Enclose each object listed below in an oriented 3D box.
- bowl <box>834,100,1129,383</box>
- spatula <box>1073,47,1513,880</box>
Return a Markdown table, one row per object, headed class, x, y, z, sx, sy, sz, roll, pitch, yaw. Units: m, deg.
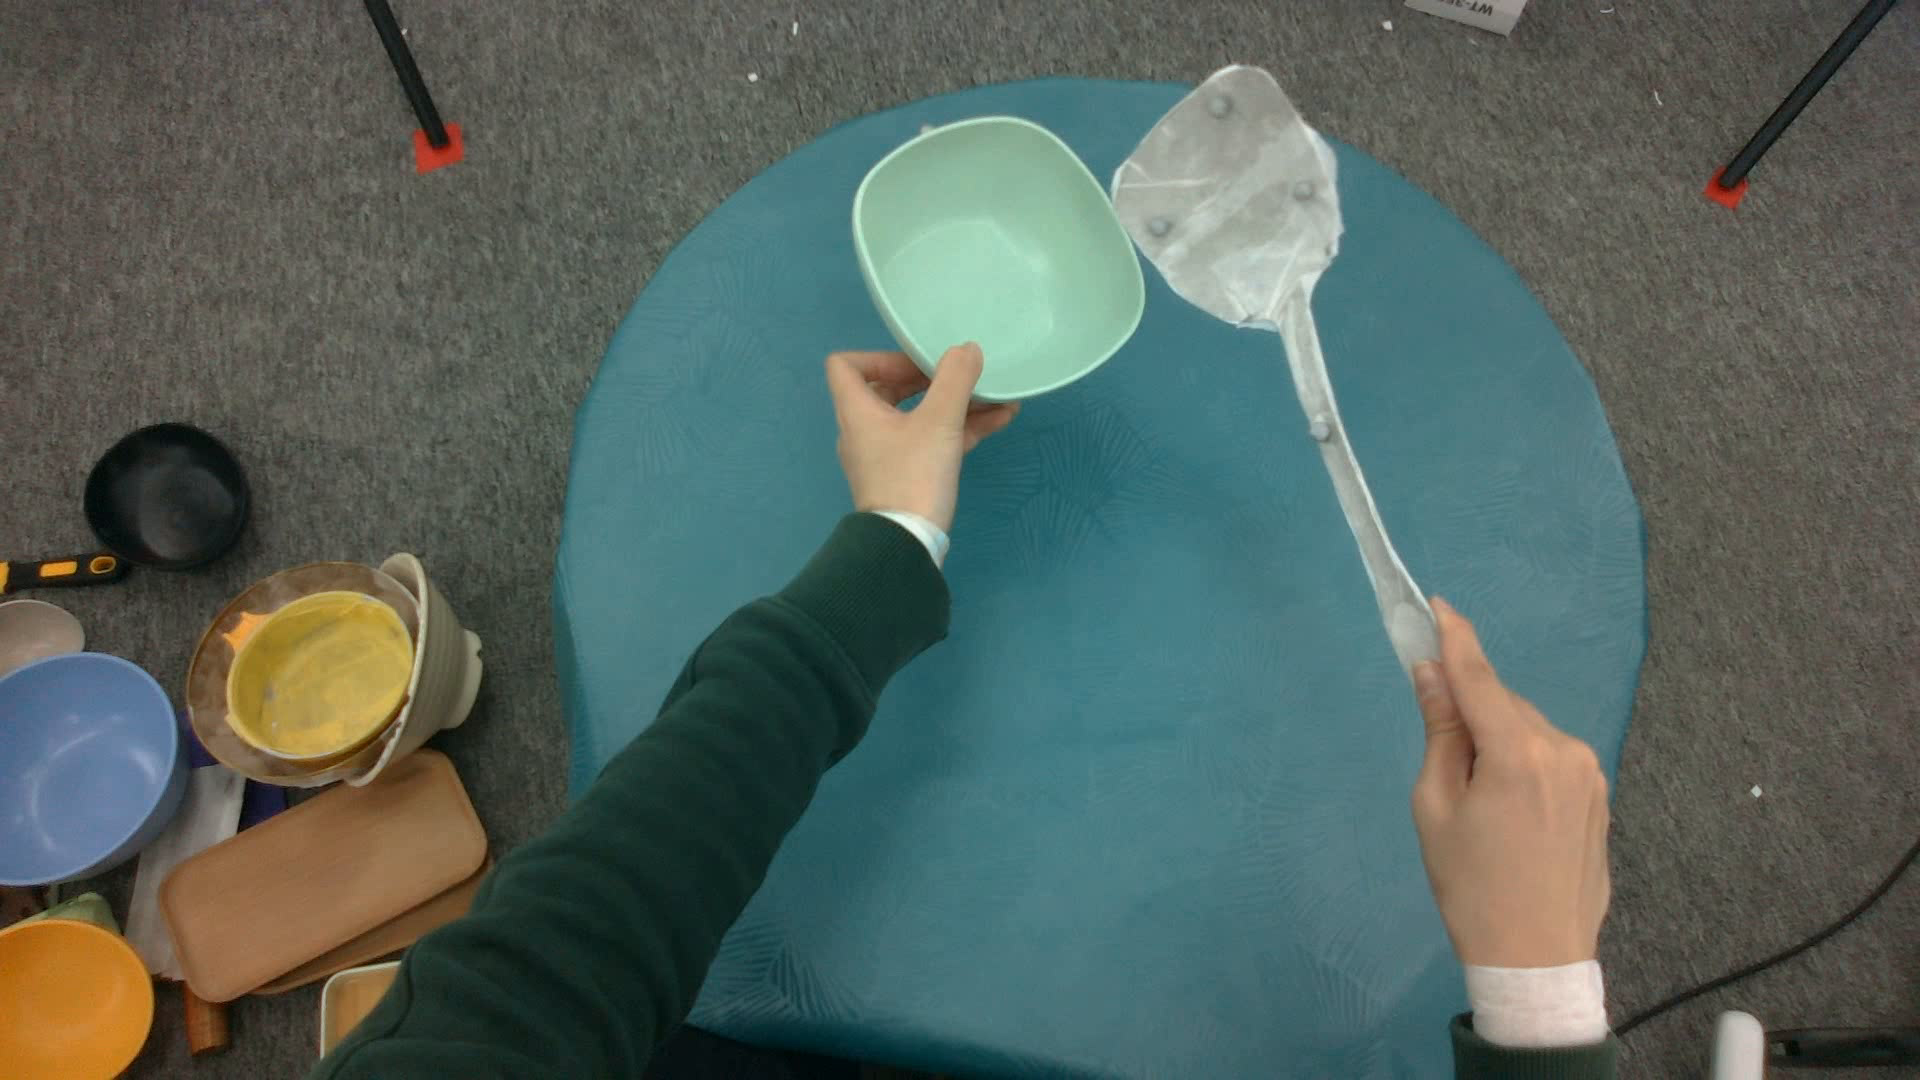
| class | x | y | z | sx | sy | sz | roll | pitch | yaw |
| --- | --- | --- | --- | --- | --- | --- | --- | --- | --- |
| bowl | 0.004 | -0.138 | 0.680 | 0.151 | 0.058 | 0.152 | 6 | 71 | -19 |
| spatula | 0.146 | -0.034 | 0.574 | 0.045 | 0.098 | 0.365 | -3 | 68 | -42 |
